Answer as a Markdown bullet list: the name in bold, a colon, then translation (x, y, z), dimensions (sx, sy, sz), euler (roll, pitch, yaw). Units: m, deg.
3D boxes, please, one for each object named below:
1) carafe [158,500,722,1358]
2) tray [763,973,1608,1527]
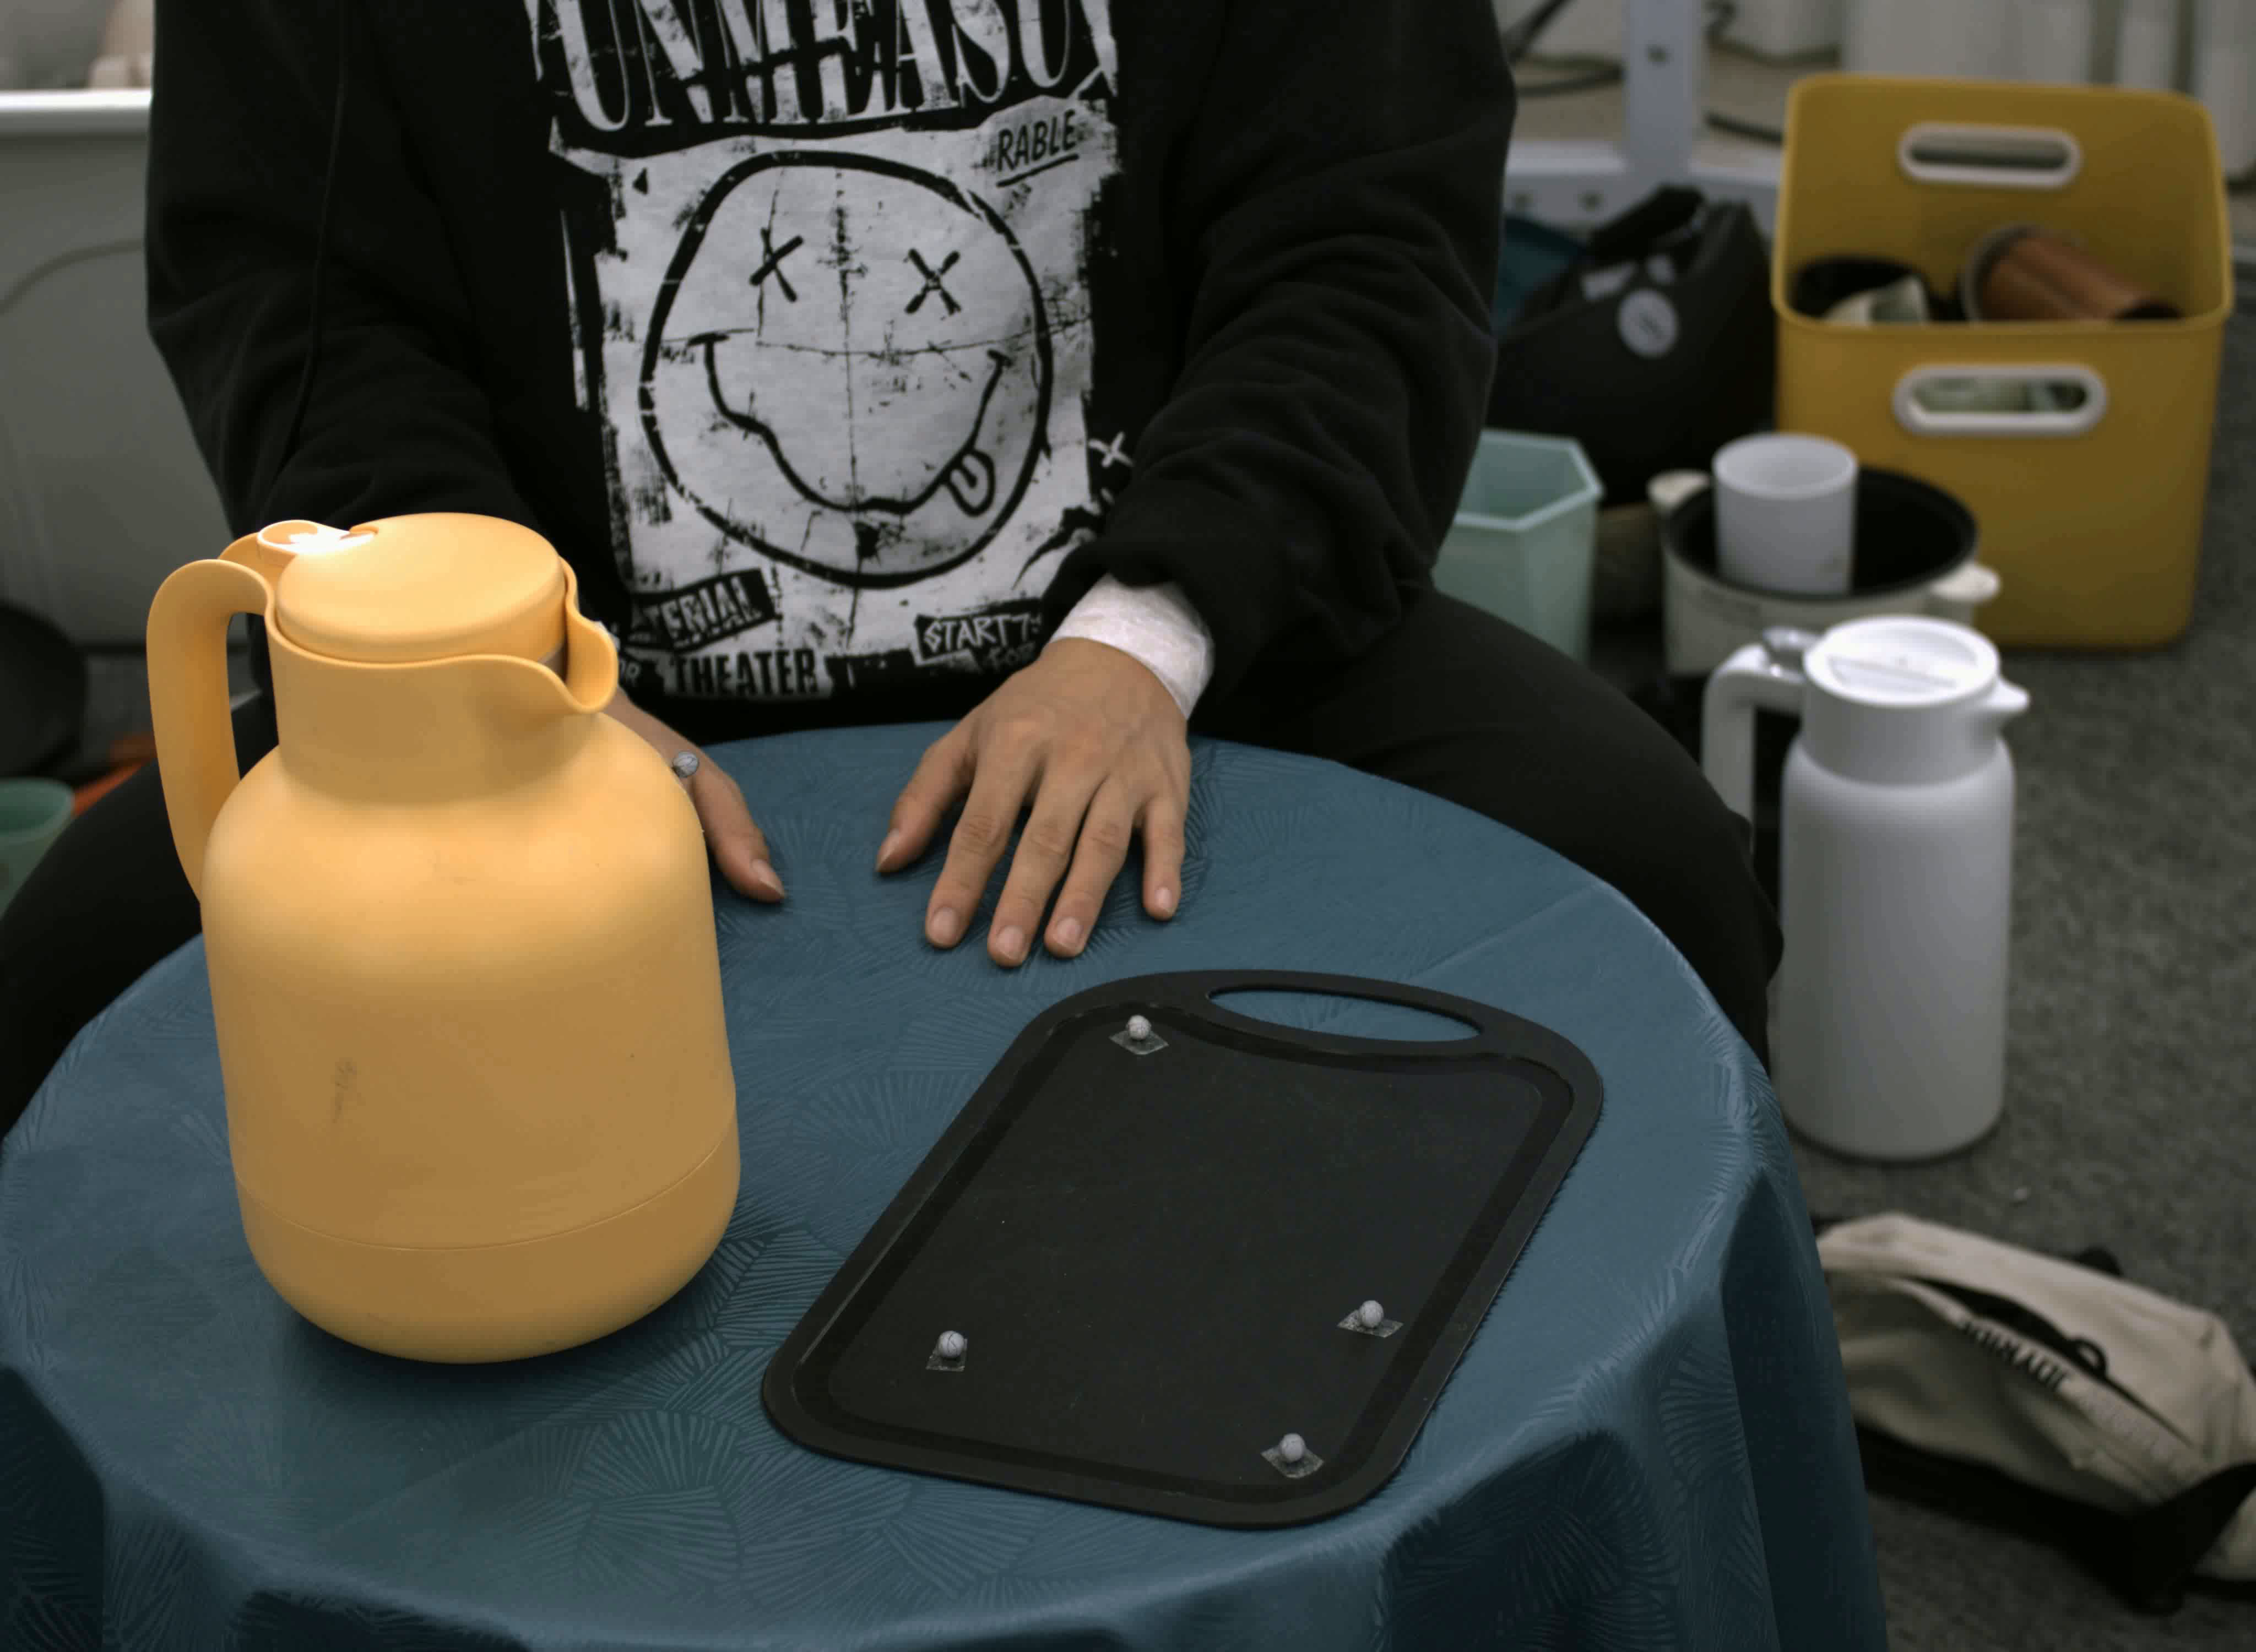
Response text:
- **carafe**: translation (-0.227, 0.022, 1.790), dimensions (0.202, 0.258, 0.165), euler (21, 32, 36)
- **tray**: translation (0.026, 0.127, 1.838), dimensions (0.209, 0.009, 0.331), euler (8, 29, 20)
